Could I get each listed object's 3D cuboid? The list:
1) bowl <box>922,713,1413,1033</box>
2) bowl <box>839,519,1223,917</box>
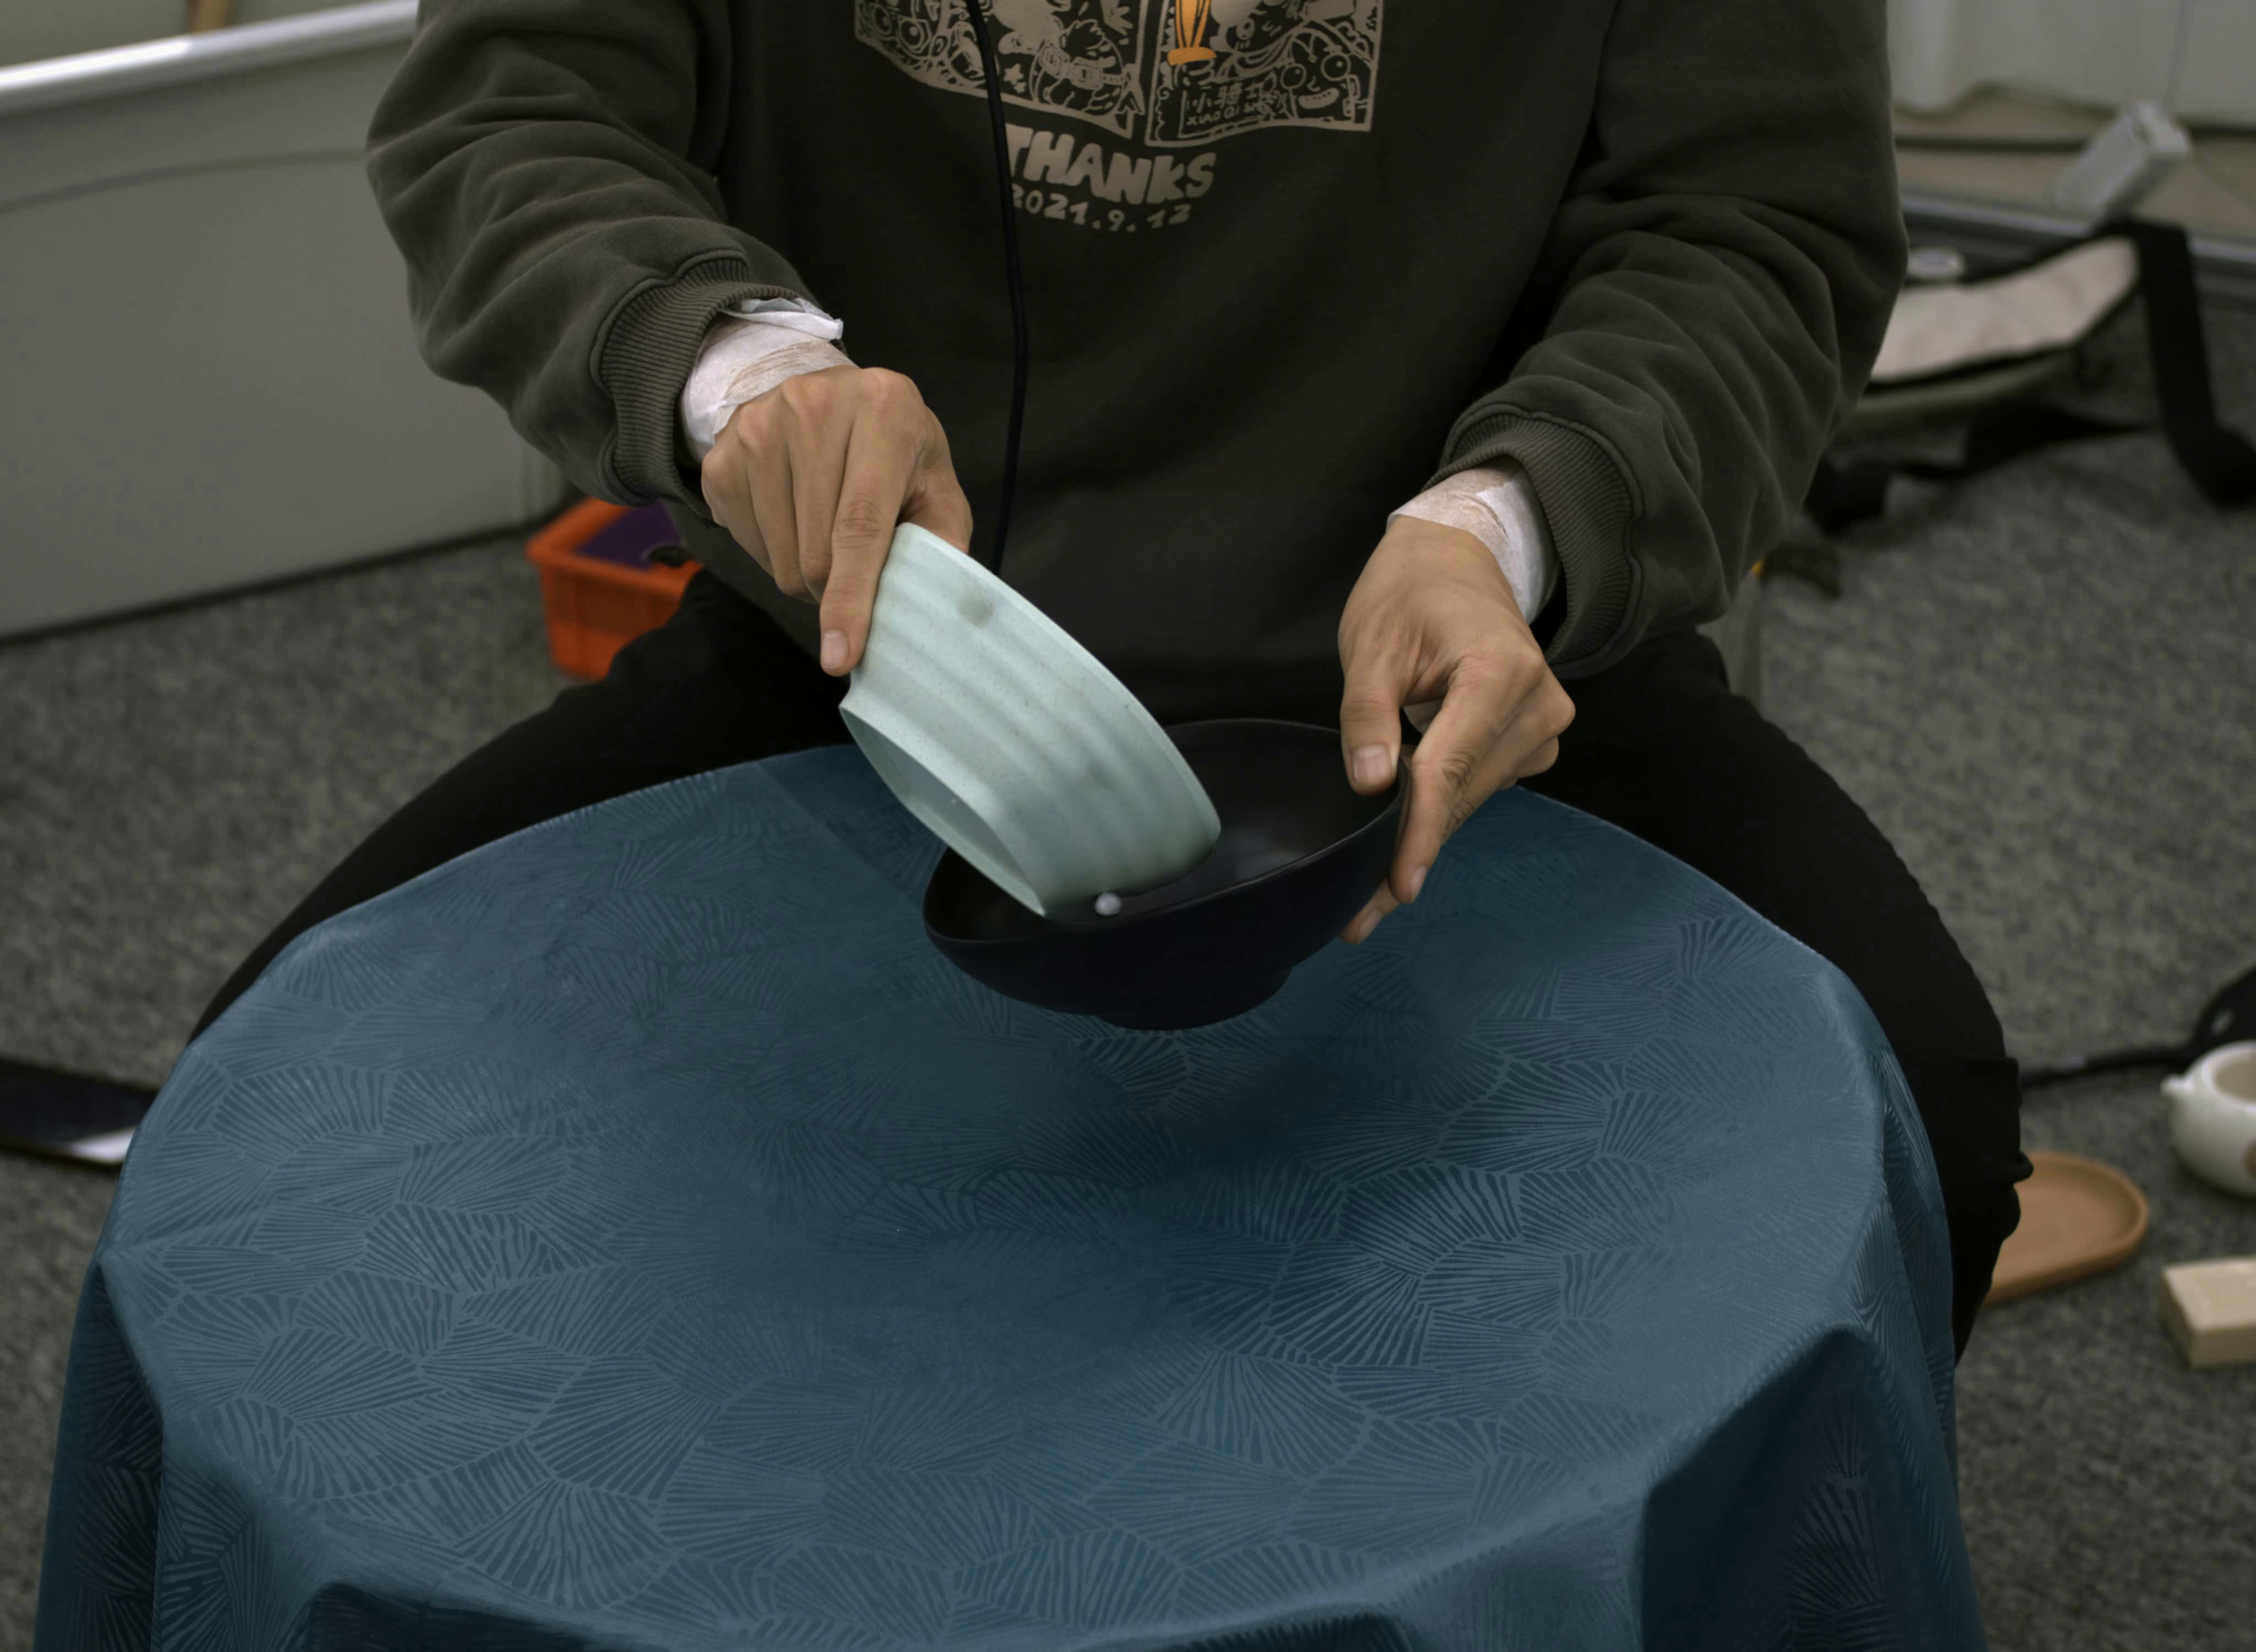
[{"bbox_3d":[0.018,0.025,1.857,0.171,0.066,0.138,-19,25,-15],"label":"bowl"},{"bbox_3d":[-0.040,-0.025,1.812,0.059,0.150,0.152,-45,40,-9],"label":"bowl"}]
